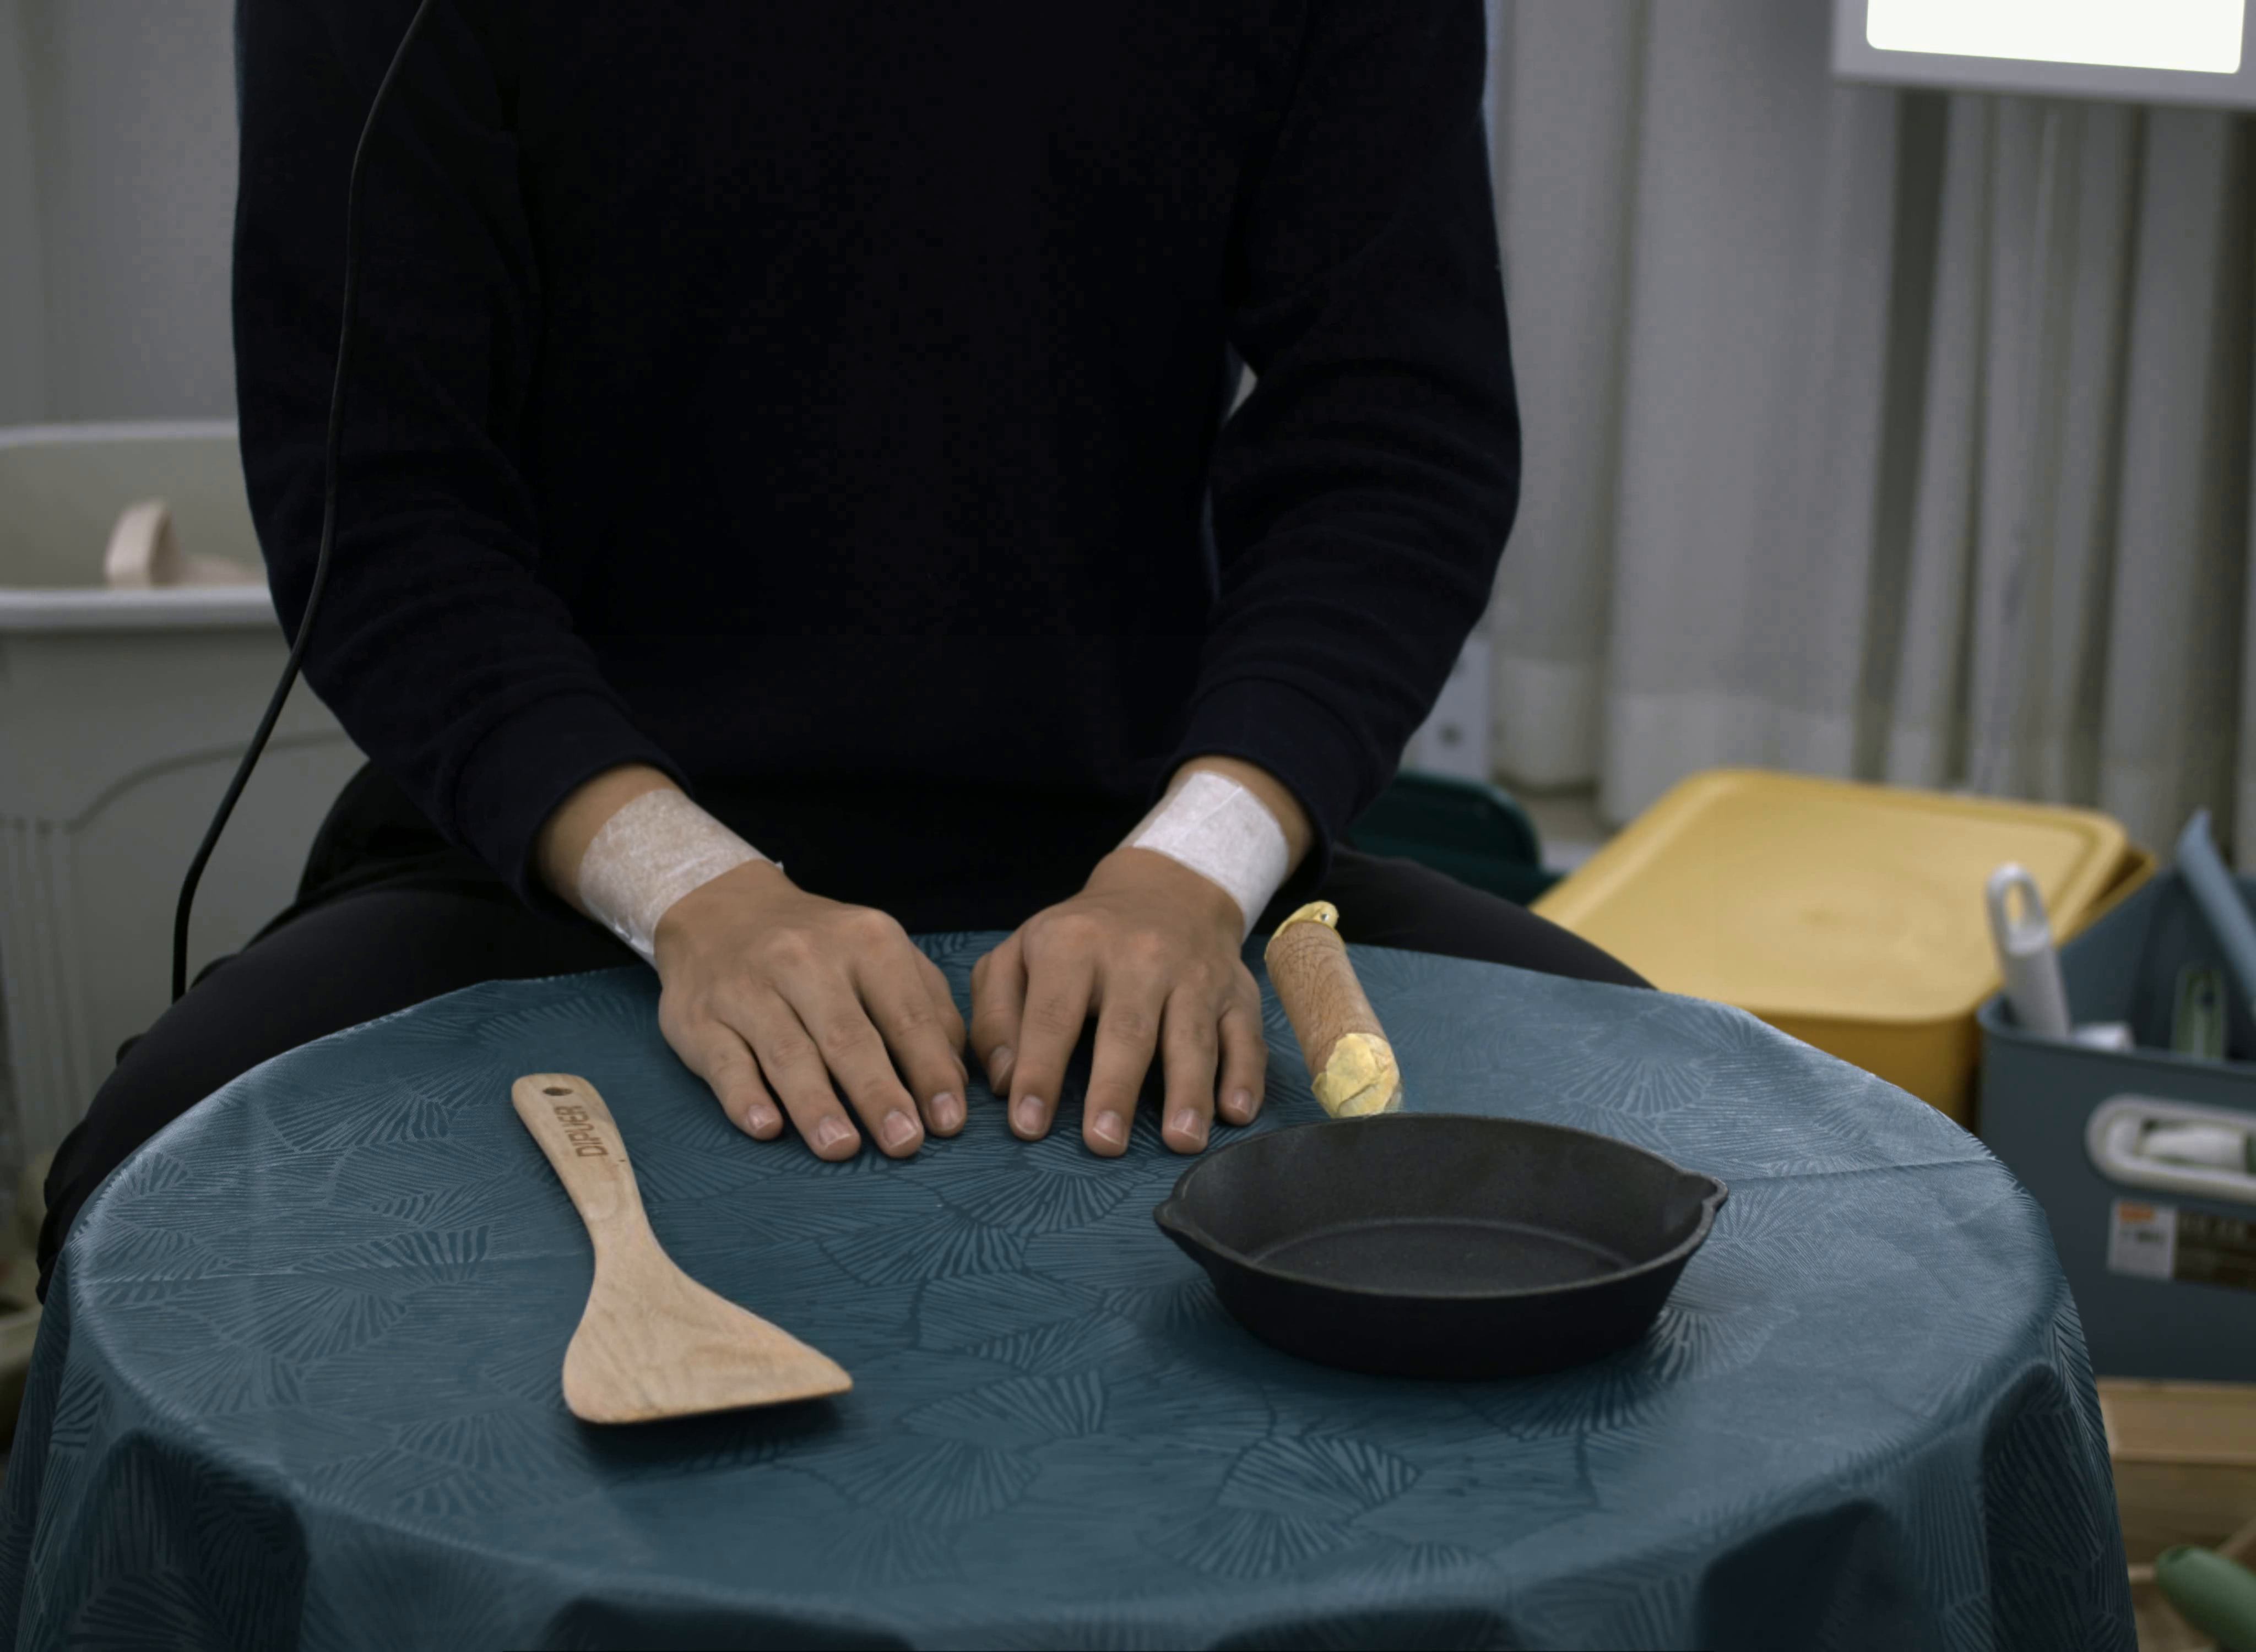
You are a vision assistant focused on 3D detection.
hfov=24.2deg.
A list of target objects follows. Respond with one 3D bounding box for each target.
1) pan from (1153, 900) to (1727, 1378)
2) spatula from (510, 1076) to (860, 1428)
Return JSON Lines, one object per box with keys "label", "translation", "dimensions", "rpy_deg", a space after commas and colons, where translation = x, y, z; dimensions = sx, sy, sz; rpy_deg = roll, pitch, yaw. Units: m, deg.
{"label": "pan", "translation": [0.080, 0.092, 1.604], "dimensions": [0.169, 0.050, 0.321], "rpy_deg": [-2, 17, -7]}
{"label": "spatula", "translation": [-0.147, 0.121, 1.556], "dimensions": [0.080, 0.016, 0.324], "rpy_deg": [-3, 16, -14]}
